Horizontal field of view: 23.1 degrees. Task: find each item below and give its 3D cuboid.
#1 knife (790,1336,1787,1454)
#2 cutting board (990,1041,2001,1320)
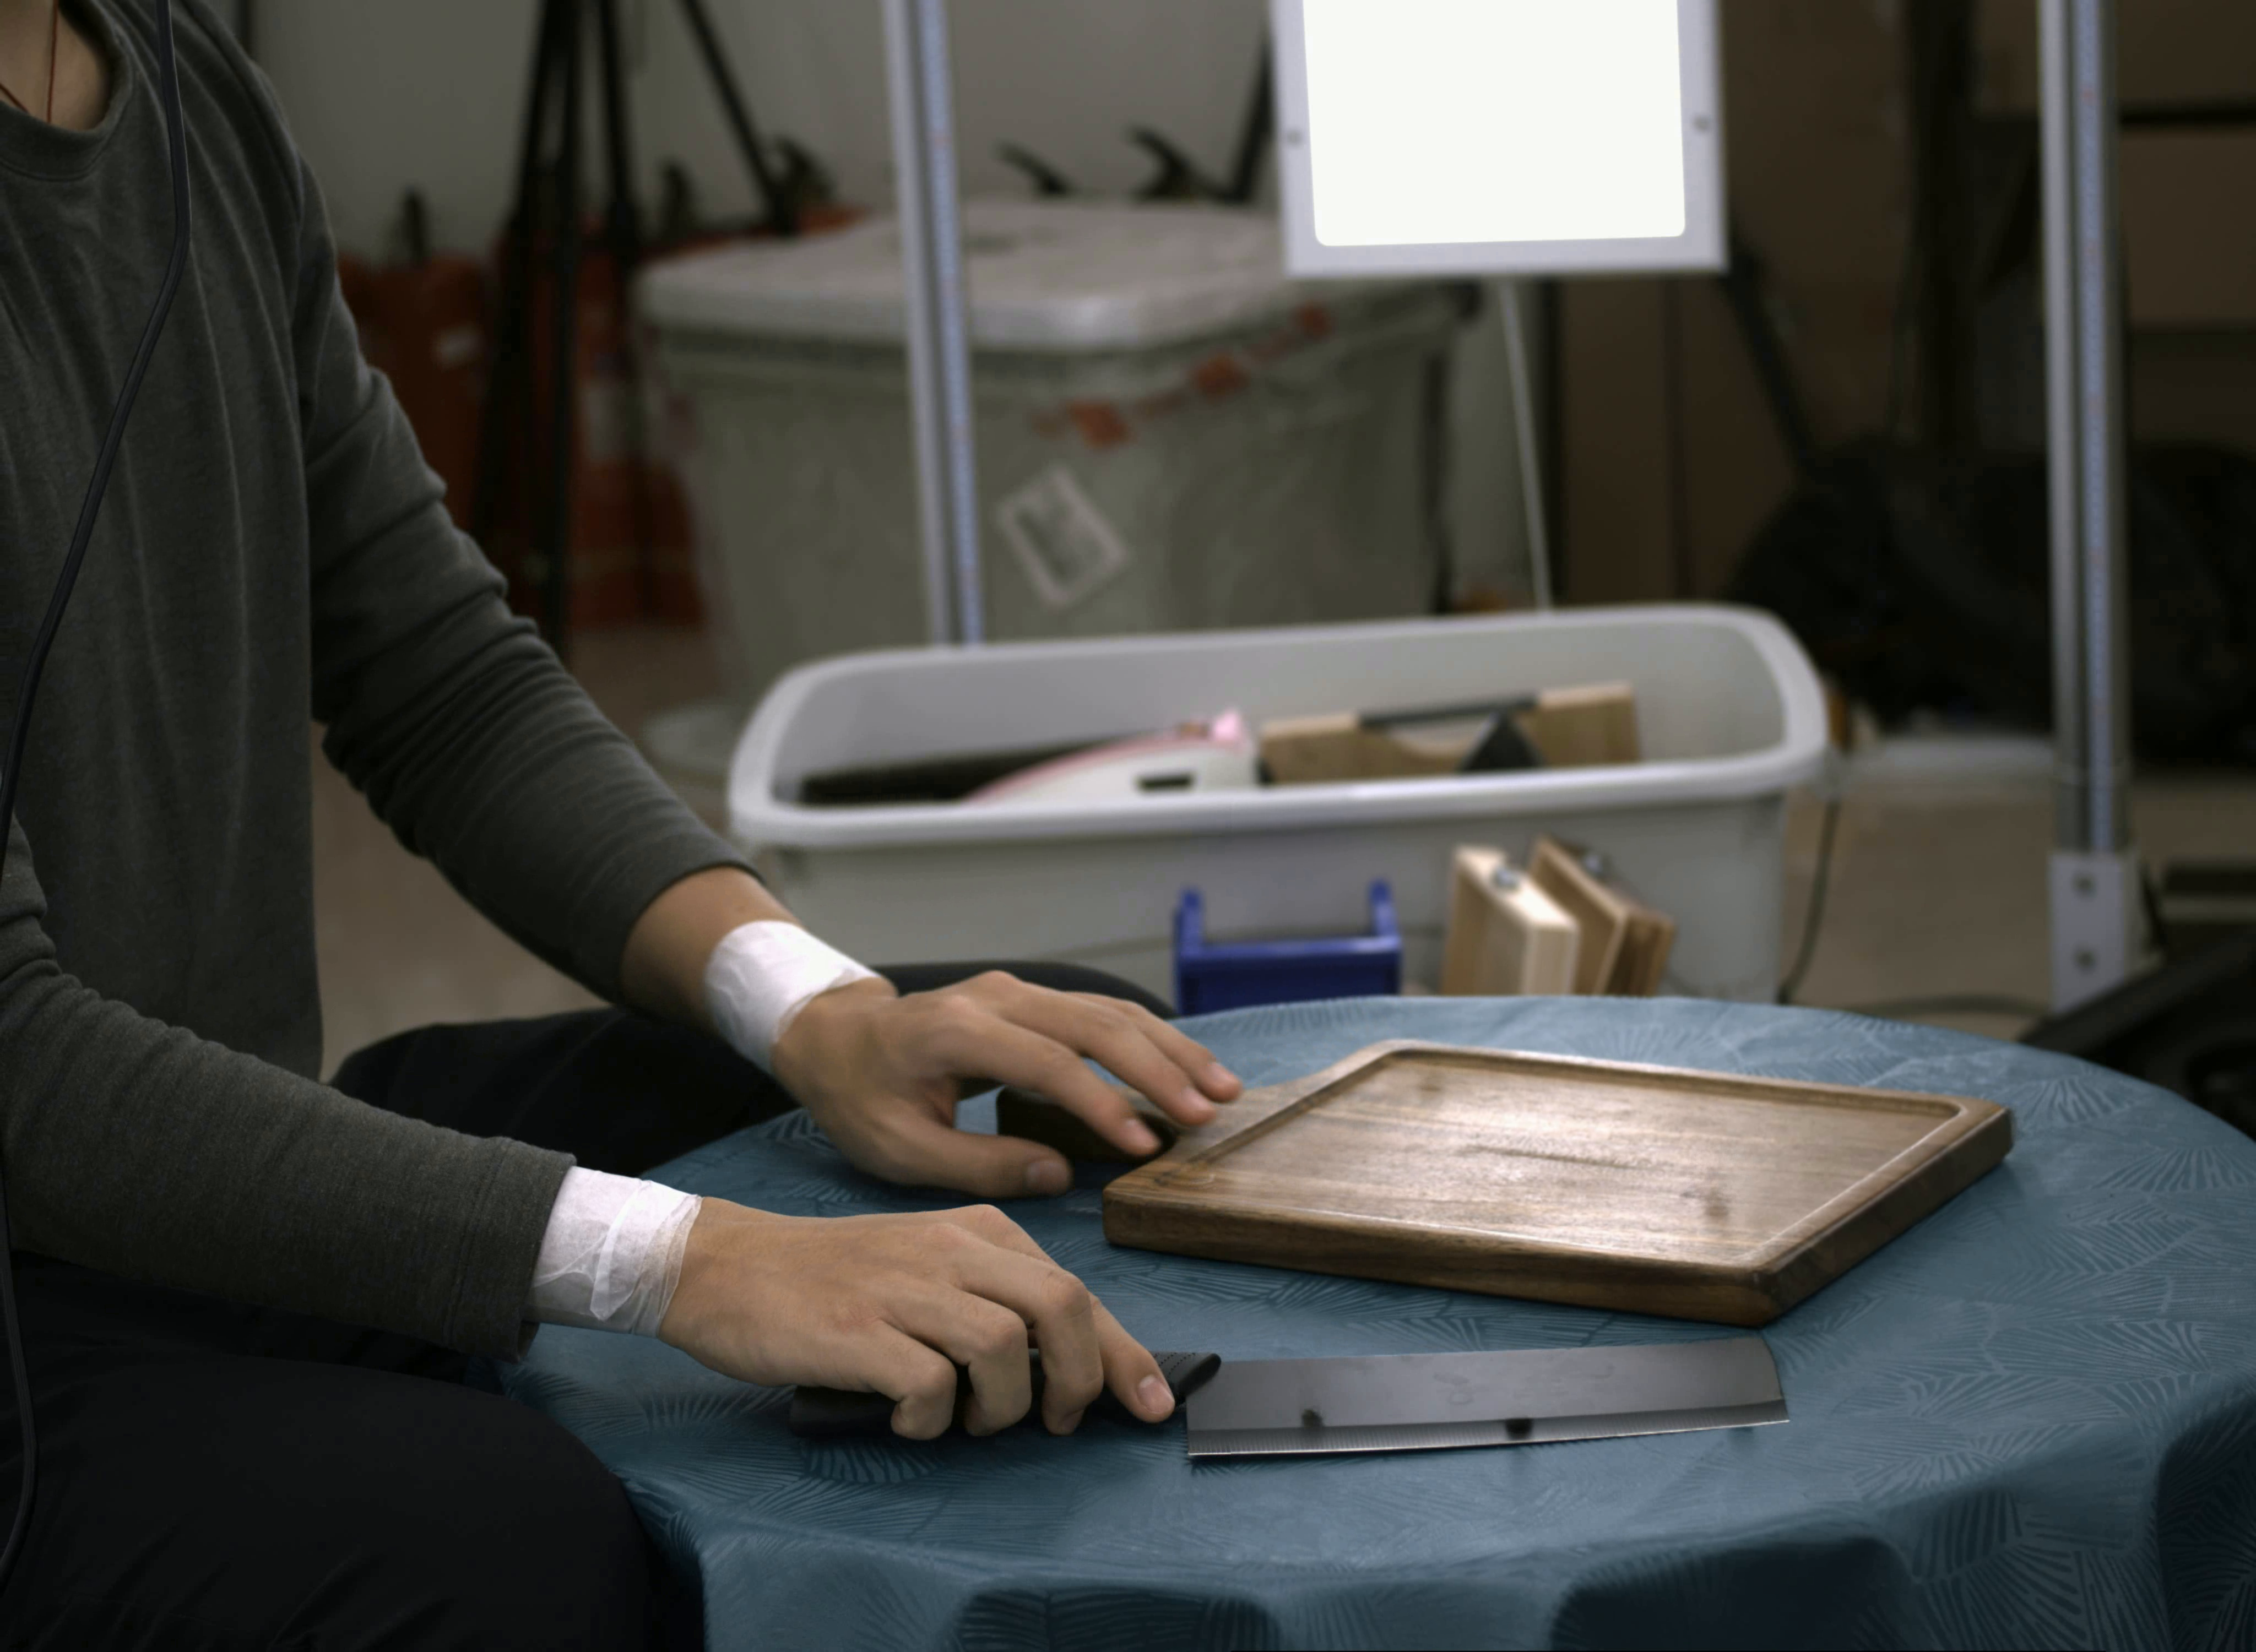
[{"bbox_3d":[0.048,0.173,1.666,0.303,0.021,0.080,-2,18,8],"label":"knife"},{"bbox_3d":[0.104,0.112,1.877,0.359,0.023,0.196,4,16,34],"label":"cutting board"}]
